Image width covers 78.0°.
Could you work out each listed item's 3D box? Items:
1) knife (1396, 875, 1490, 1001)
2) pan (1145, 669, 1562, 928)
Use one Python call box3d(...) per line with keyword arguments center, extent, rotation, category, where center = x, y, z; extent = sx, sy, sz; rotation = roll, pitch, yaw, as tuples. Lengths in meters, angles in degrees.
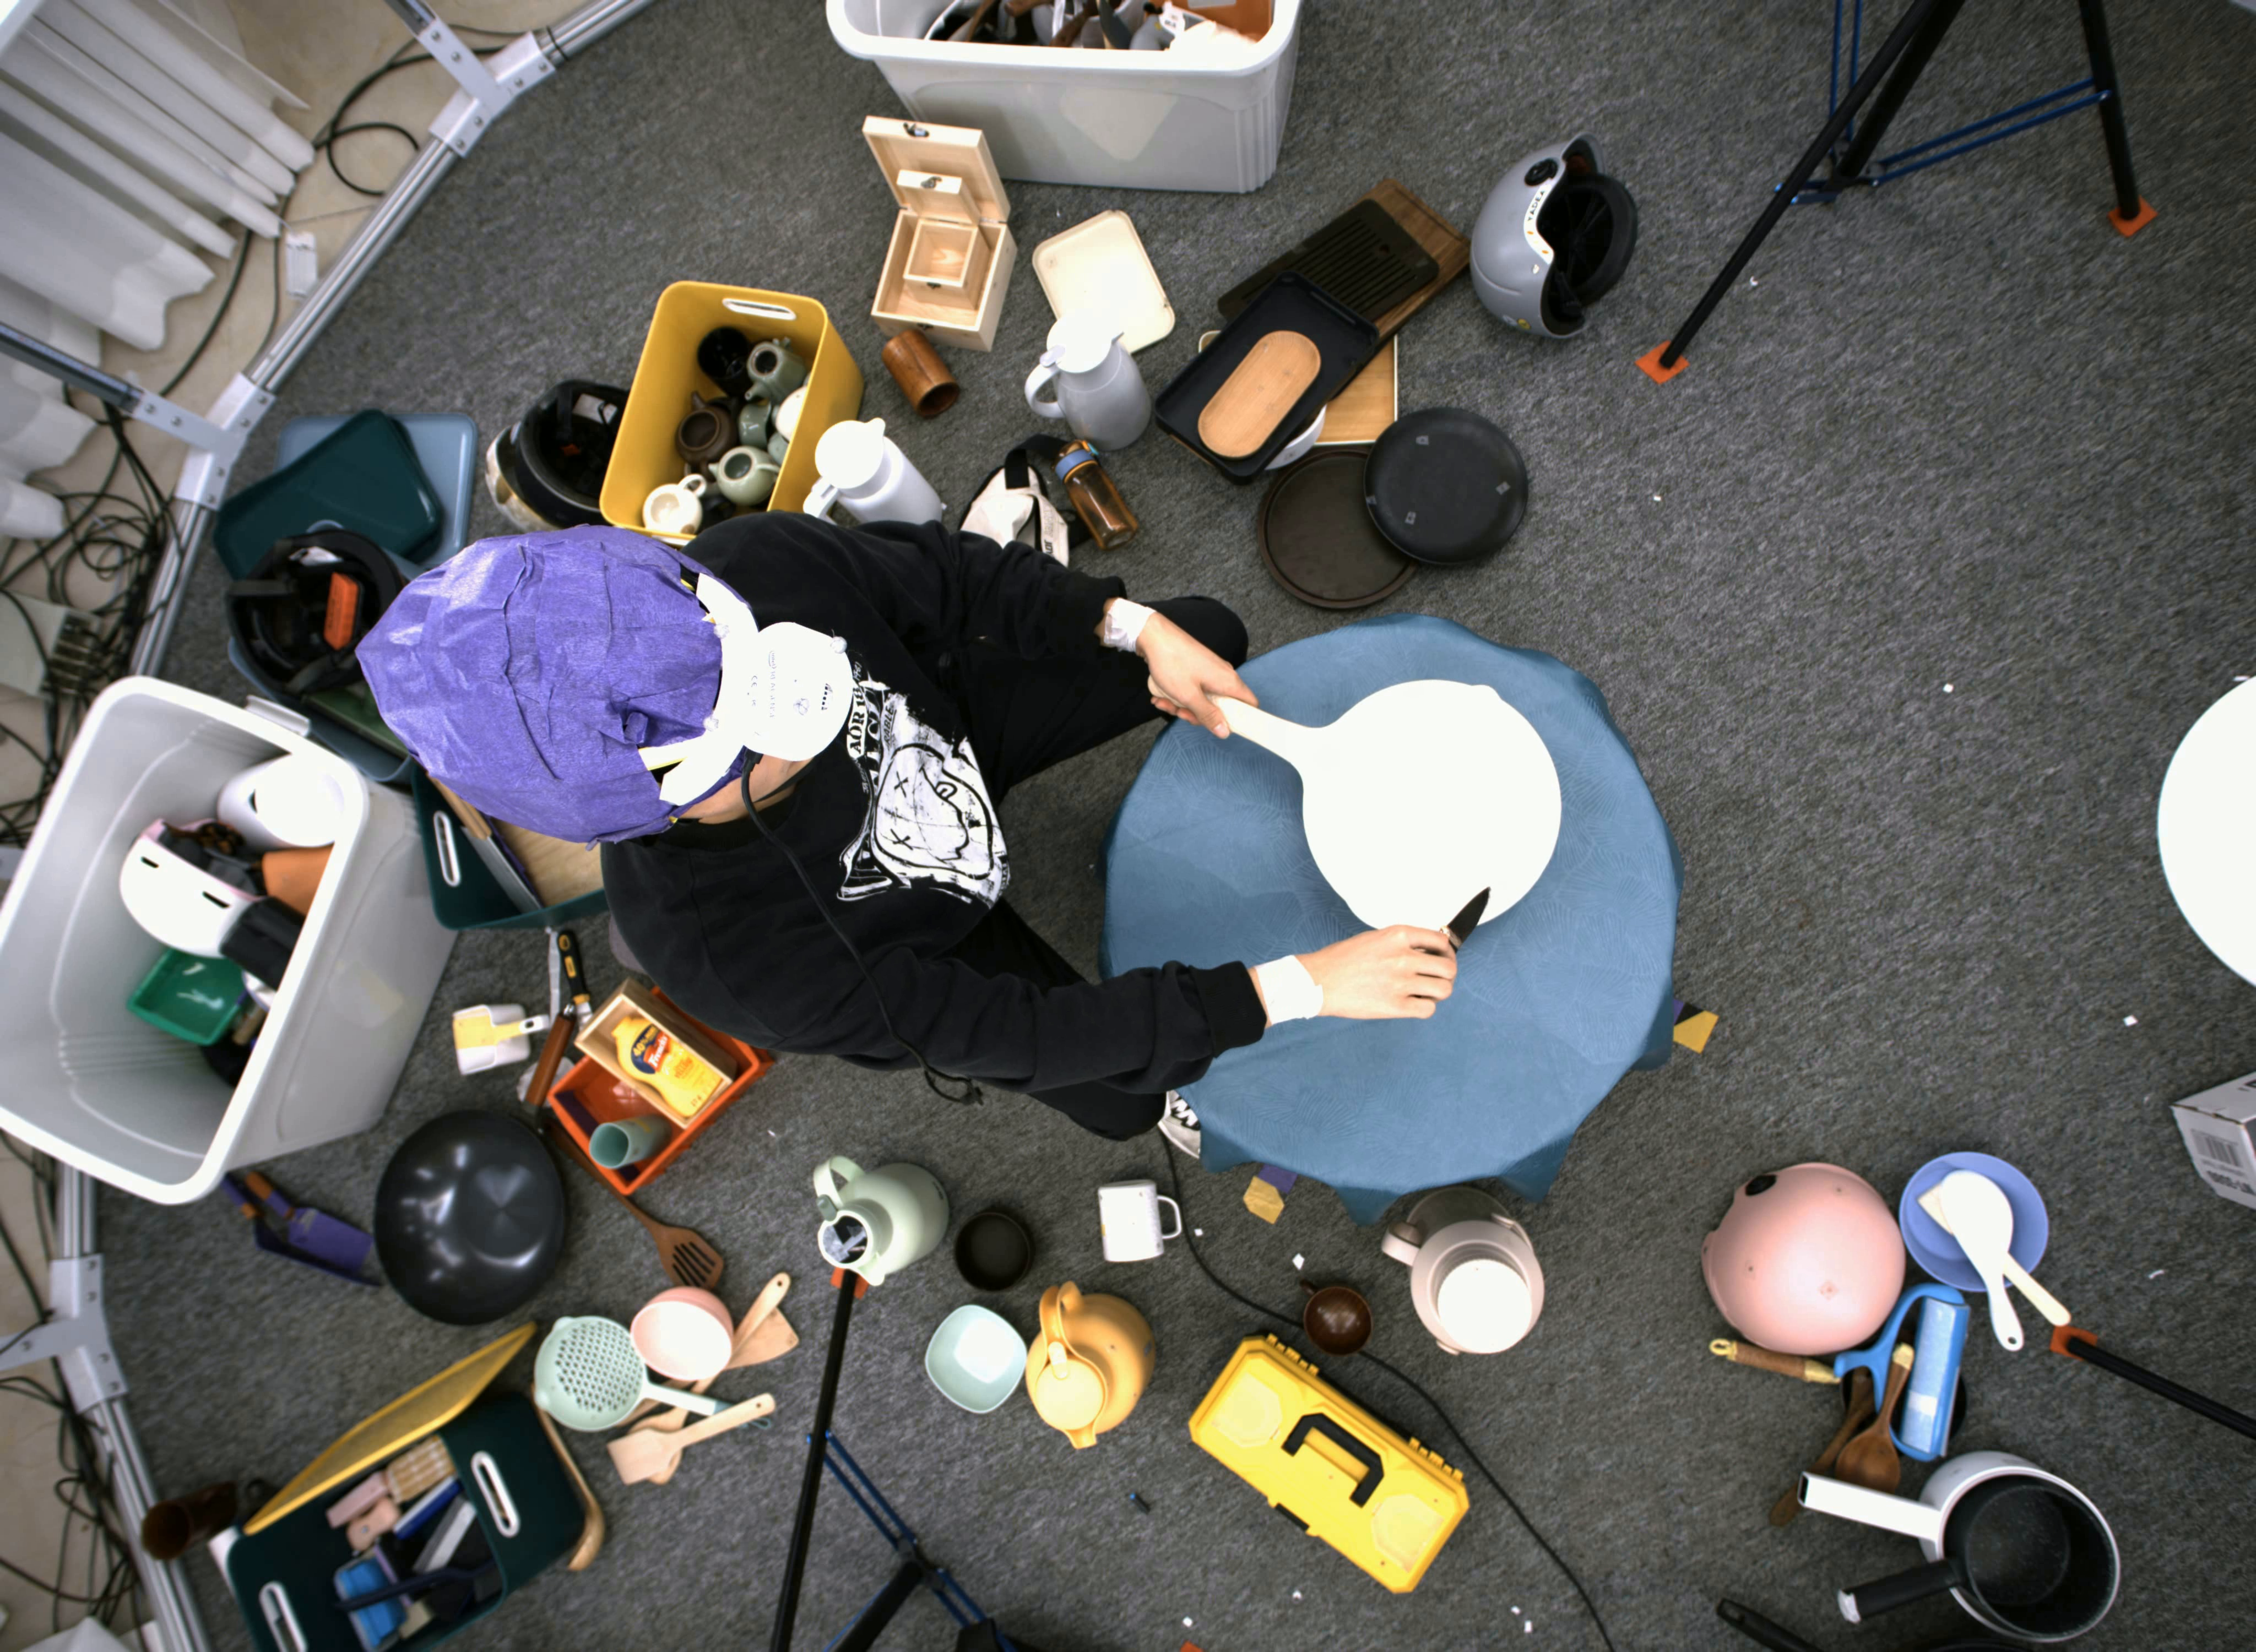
box3d(center=(0.311, 0.103, 1.331), extent=(0.026, 0.220, 0.018), rotation=(40, 135, 12), category="knife")
box3d(center=(0.225, -0.066, 1.408), extent=(0.434, 0.101, 0.266), rotation=(25, 103, 9), category="pan")
